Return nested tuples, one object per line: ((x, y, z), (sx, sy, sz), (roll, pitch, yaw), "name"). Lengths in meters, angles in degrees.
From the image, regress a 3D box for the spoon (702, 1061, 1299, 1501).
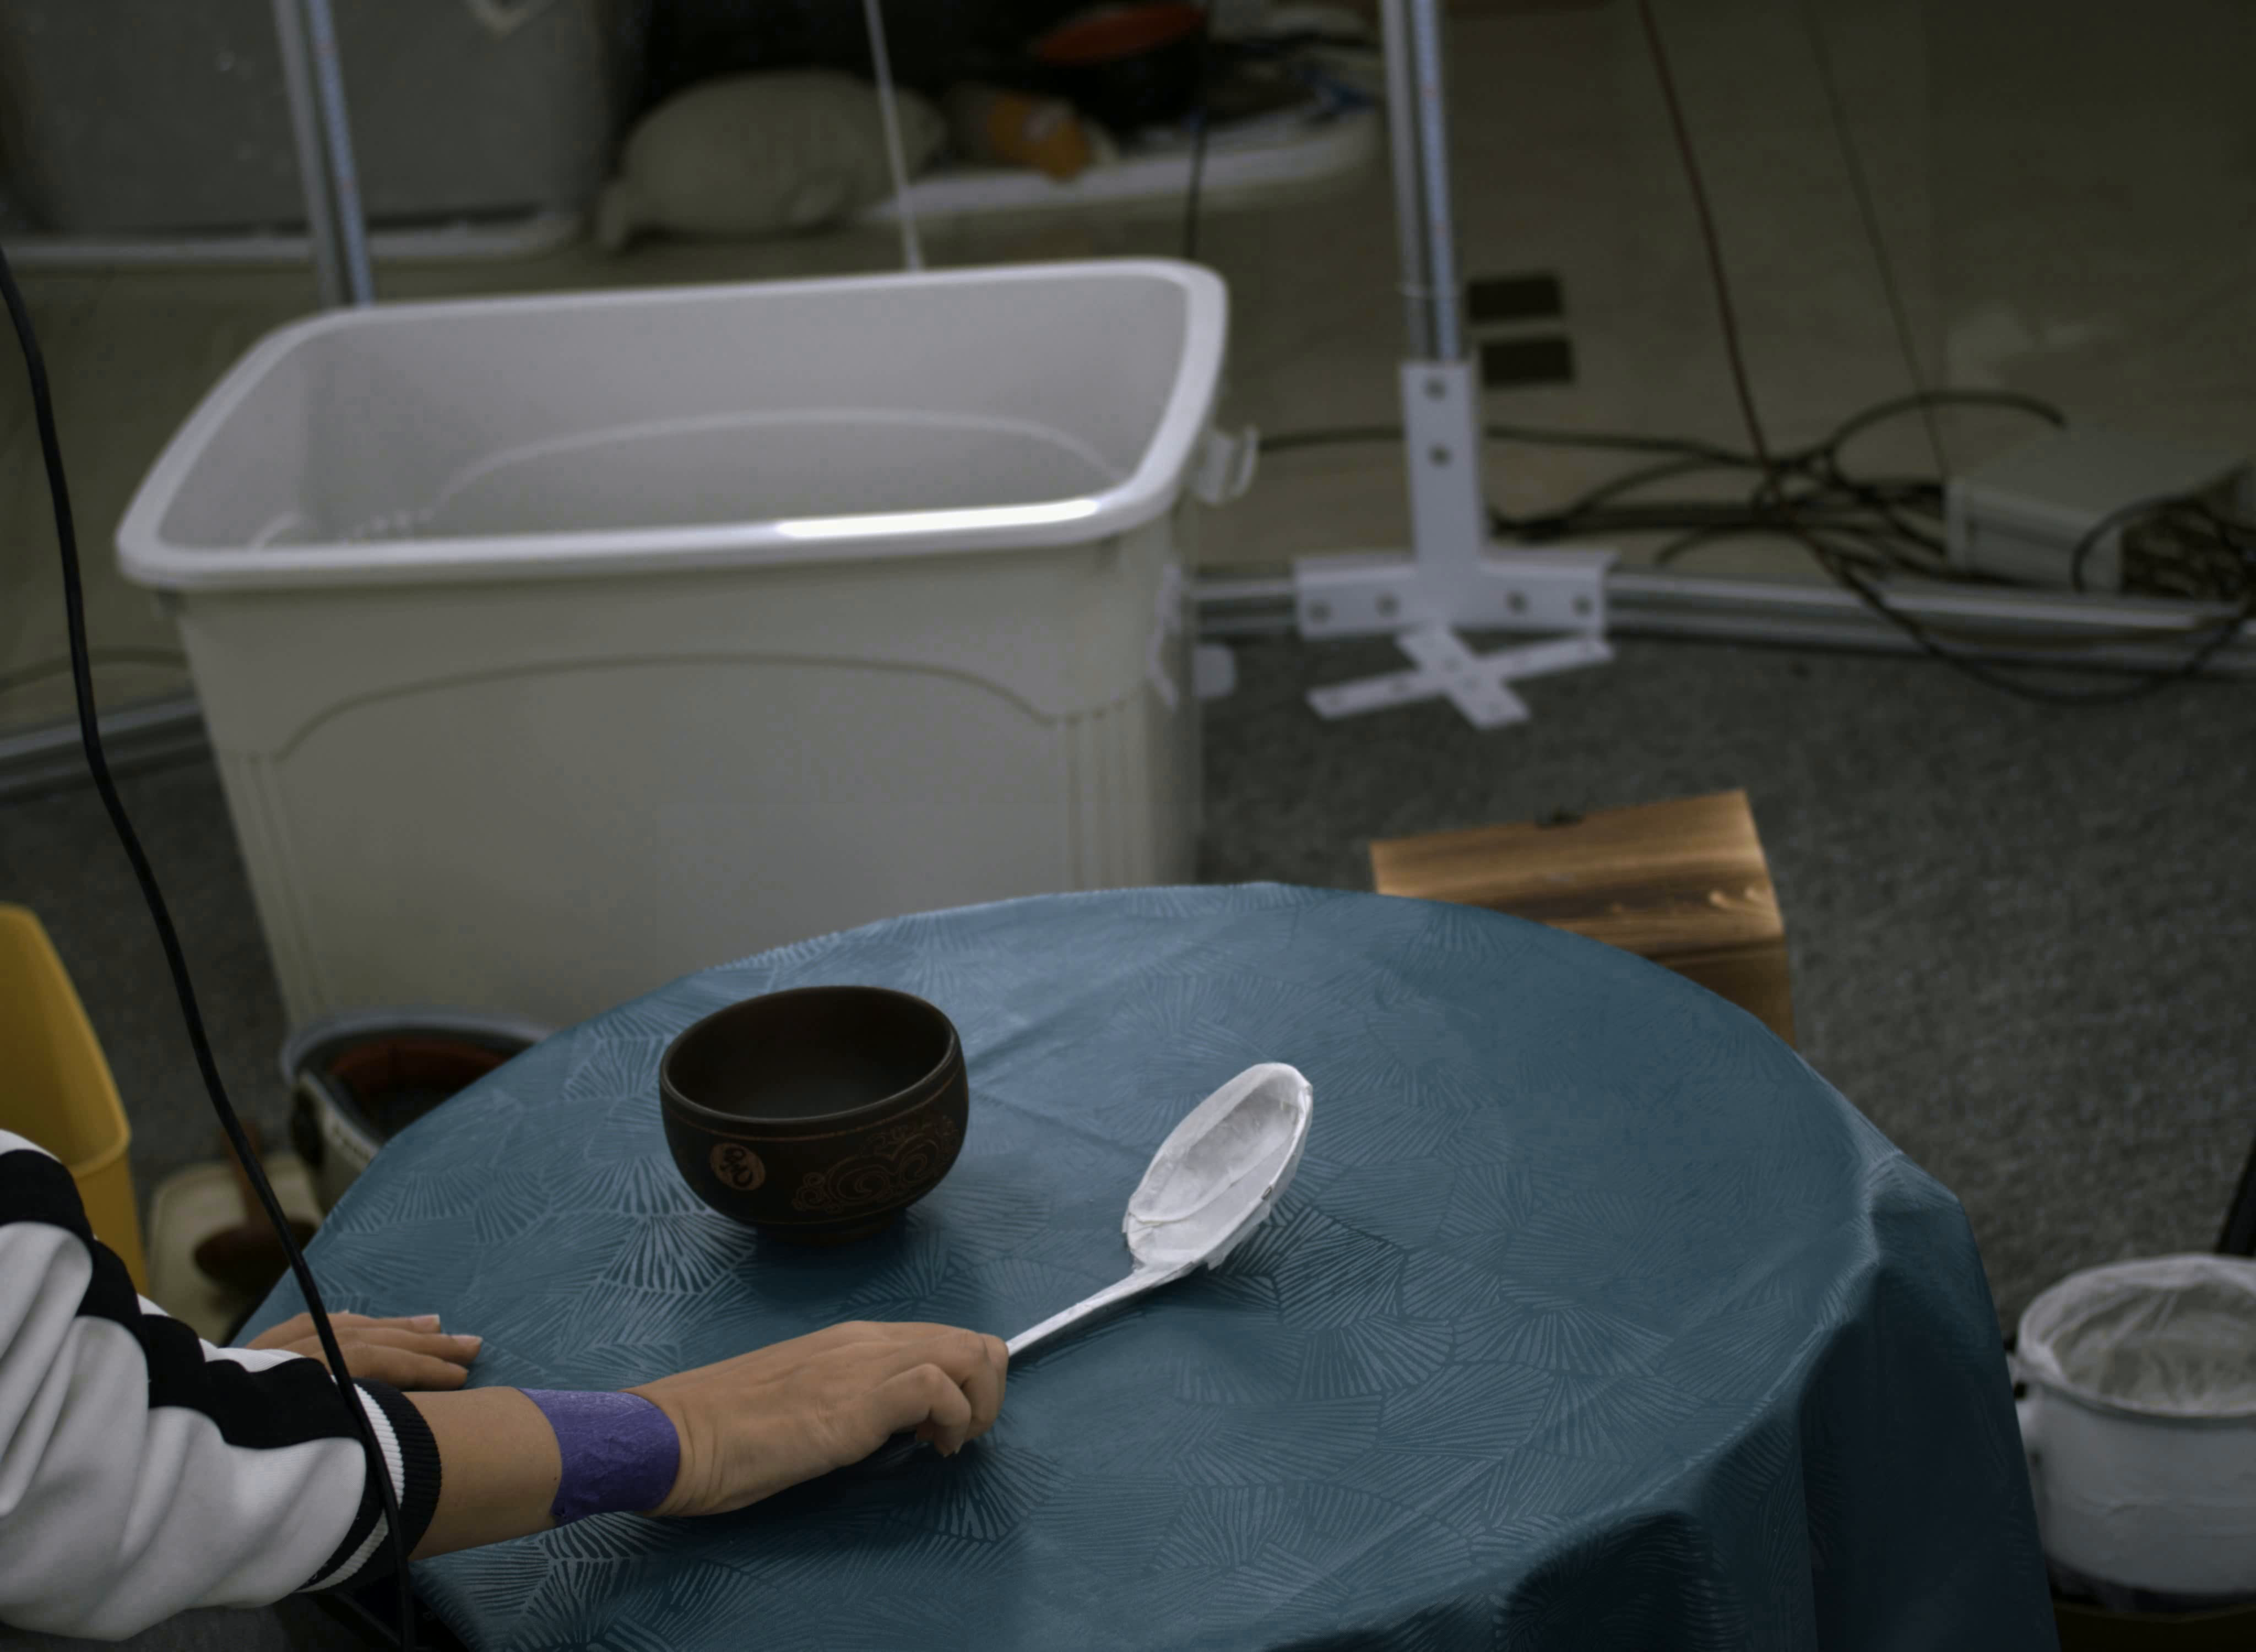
((-0.049, 0.162, 2.049), (0.275, 0.059, 0.101), (-24, 4, -29), "spoon")

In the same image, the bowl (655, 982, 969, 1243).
((-0.117, 0.114, 2.142), (0.118, 0.071, 0.116), (-5, 25, 3), "bowl")
